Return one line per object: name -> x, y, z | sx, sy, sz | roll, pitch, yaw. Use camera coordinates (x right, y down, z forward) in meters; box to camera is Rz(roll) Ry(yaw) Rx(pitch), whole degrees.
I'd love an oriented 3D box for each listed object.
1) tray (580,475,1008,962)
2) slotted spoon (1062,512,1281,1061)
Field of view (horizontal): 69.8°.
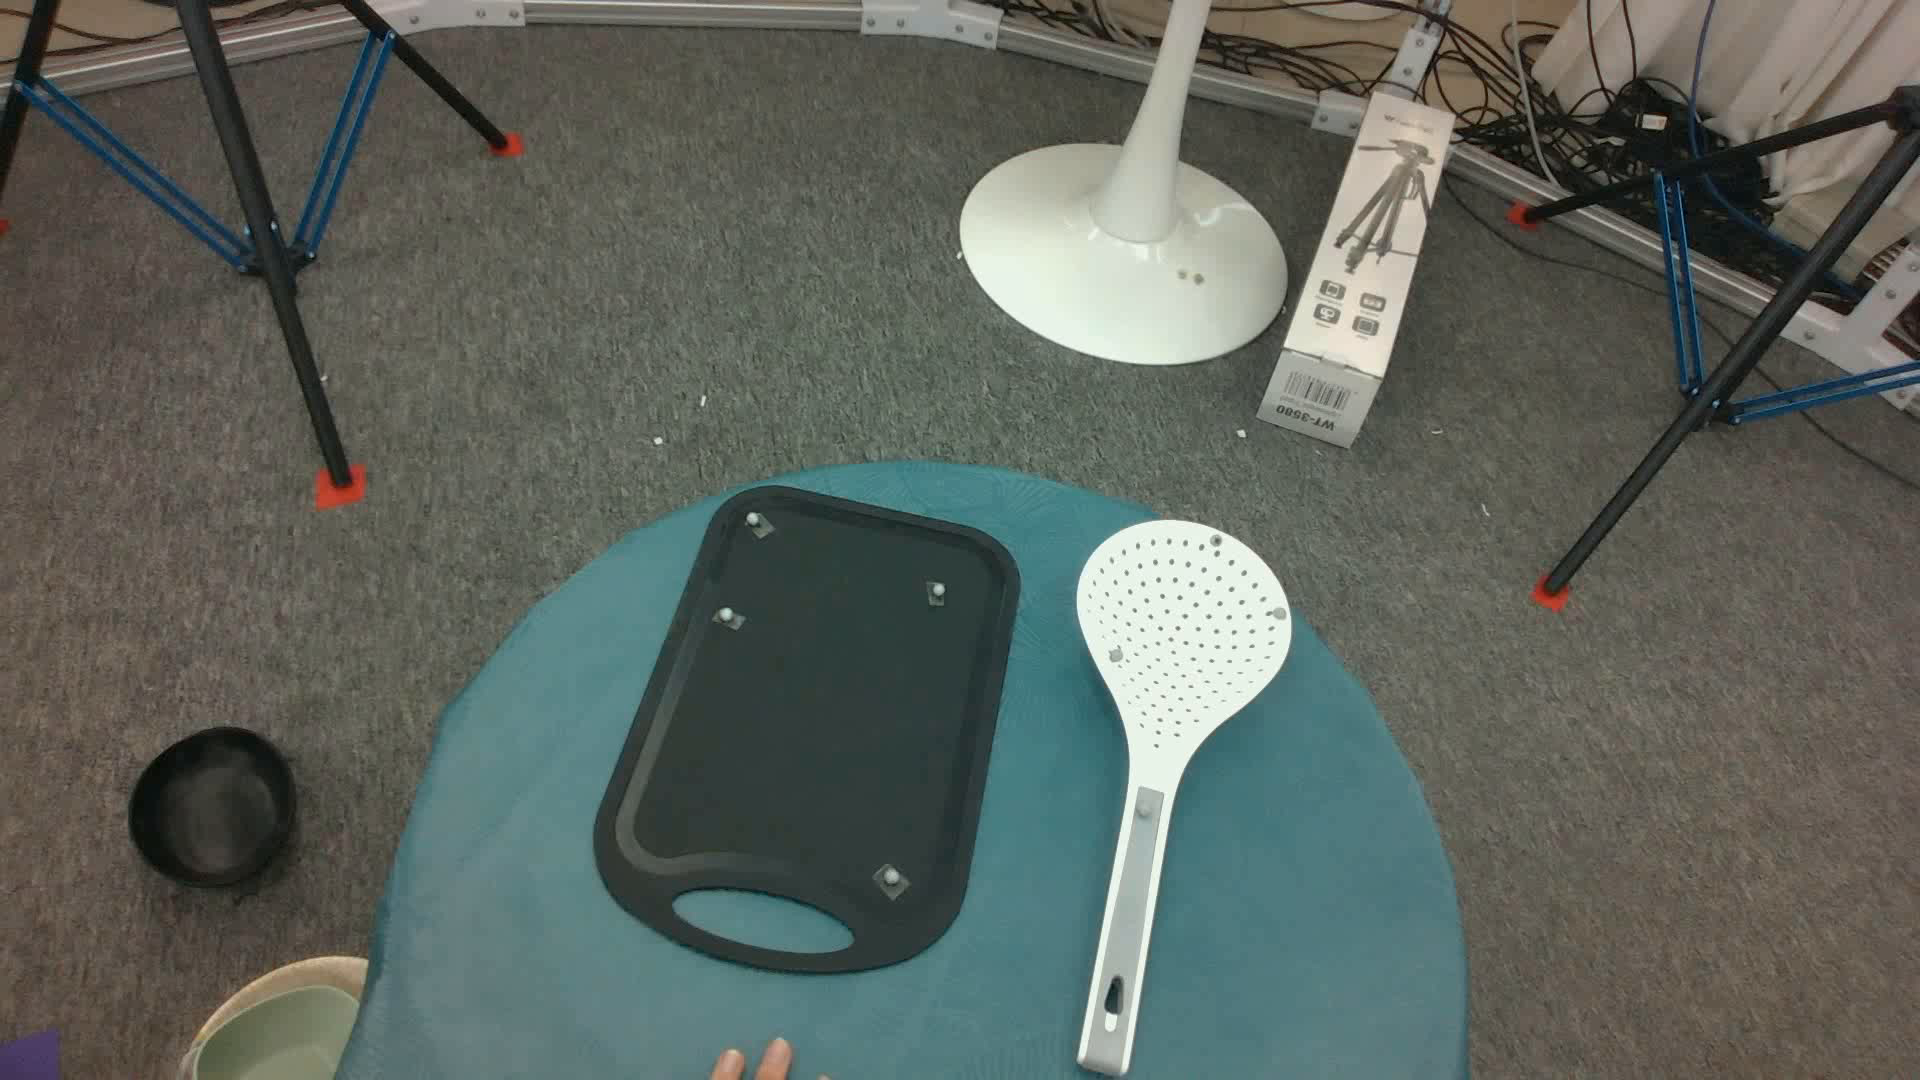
tray -> -0.090, 0.093, 0.826 | 0.211, 0.010, 0.327 | 13, 51, 0
slotted spoon -> 0.108, 0.128, 0.811 | 0.136, 0.045, 0.351 | 14, 51, 4
